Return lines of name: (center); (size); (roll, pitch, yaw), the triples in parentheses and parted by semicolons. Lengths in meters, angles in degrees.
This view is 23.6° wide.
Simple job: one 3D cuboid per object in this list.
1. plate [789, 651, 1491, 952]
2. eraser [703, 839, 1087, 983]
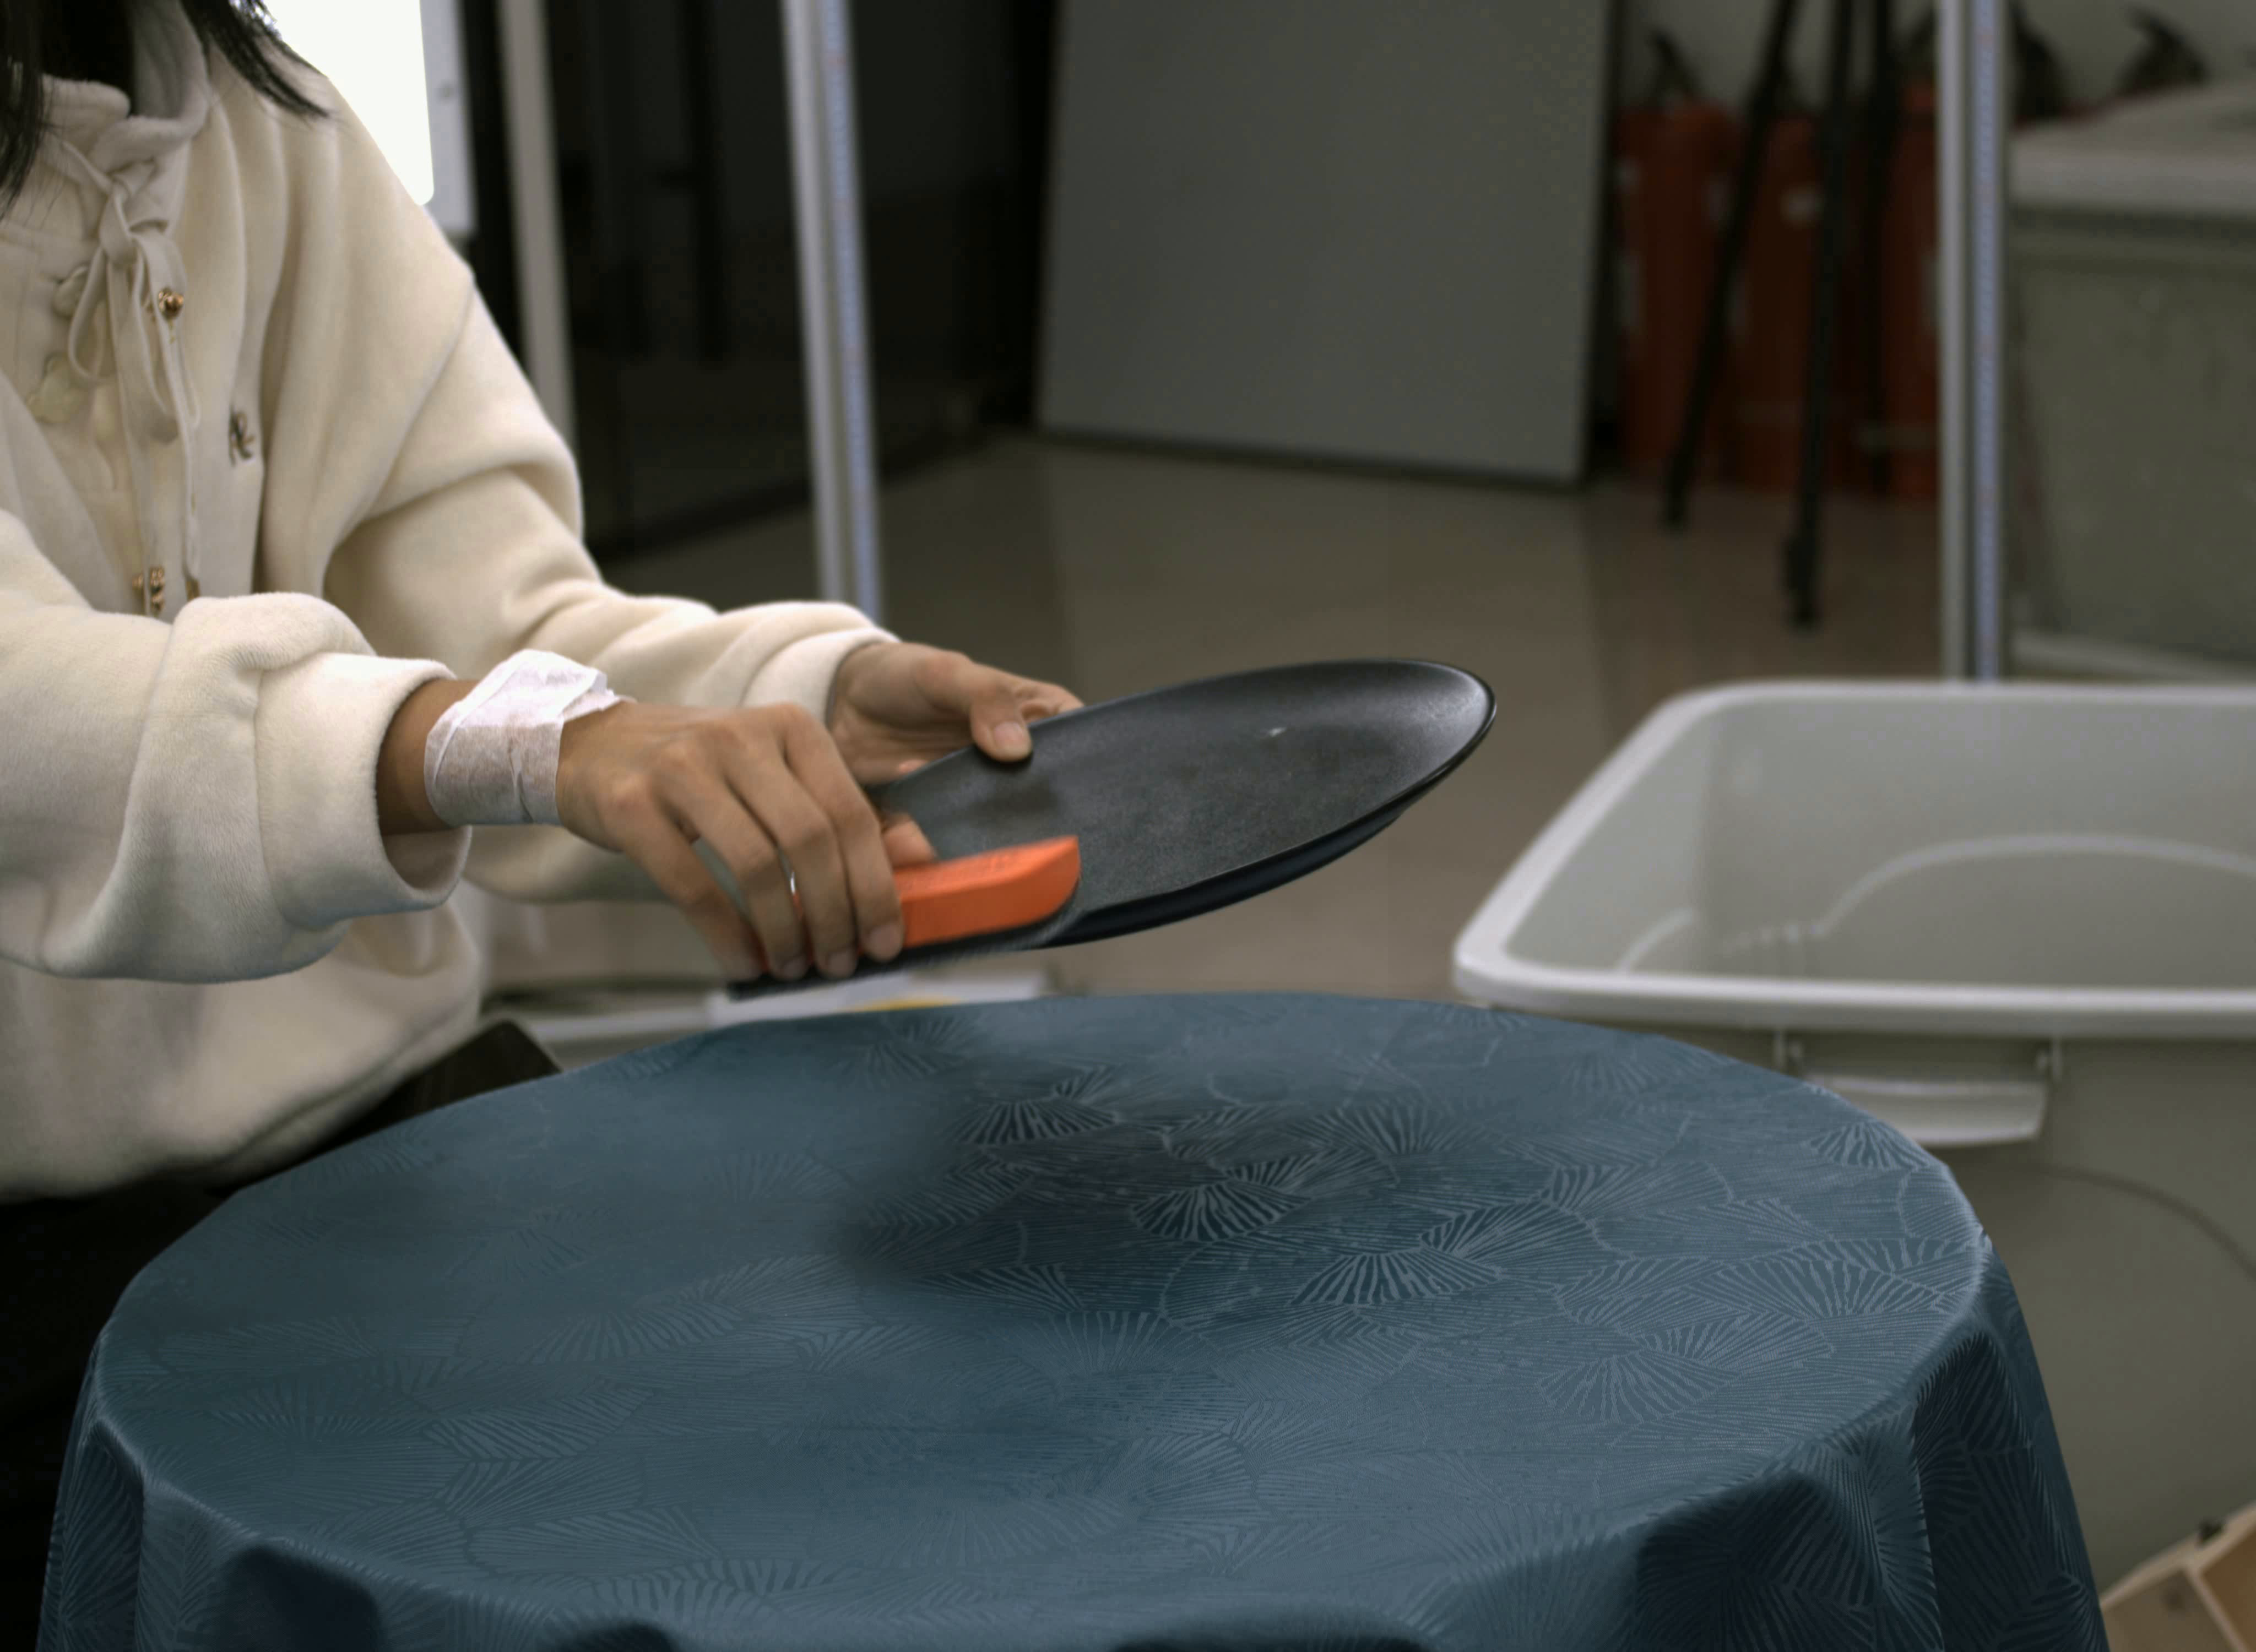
plate: (0.006, -0.004, 1.782); (0.242, 0.023, 0.245); (-16, 15, 3)
eraser: (-0.070, 0.026, 1.623); (0.108, 0.023, 0.058); (-7, 10, 25)
